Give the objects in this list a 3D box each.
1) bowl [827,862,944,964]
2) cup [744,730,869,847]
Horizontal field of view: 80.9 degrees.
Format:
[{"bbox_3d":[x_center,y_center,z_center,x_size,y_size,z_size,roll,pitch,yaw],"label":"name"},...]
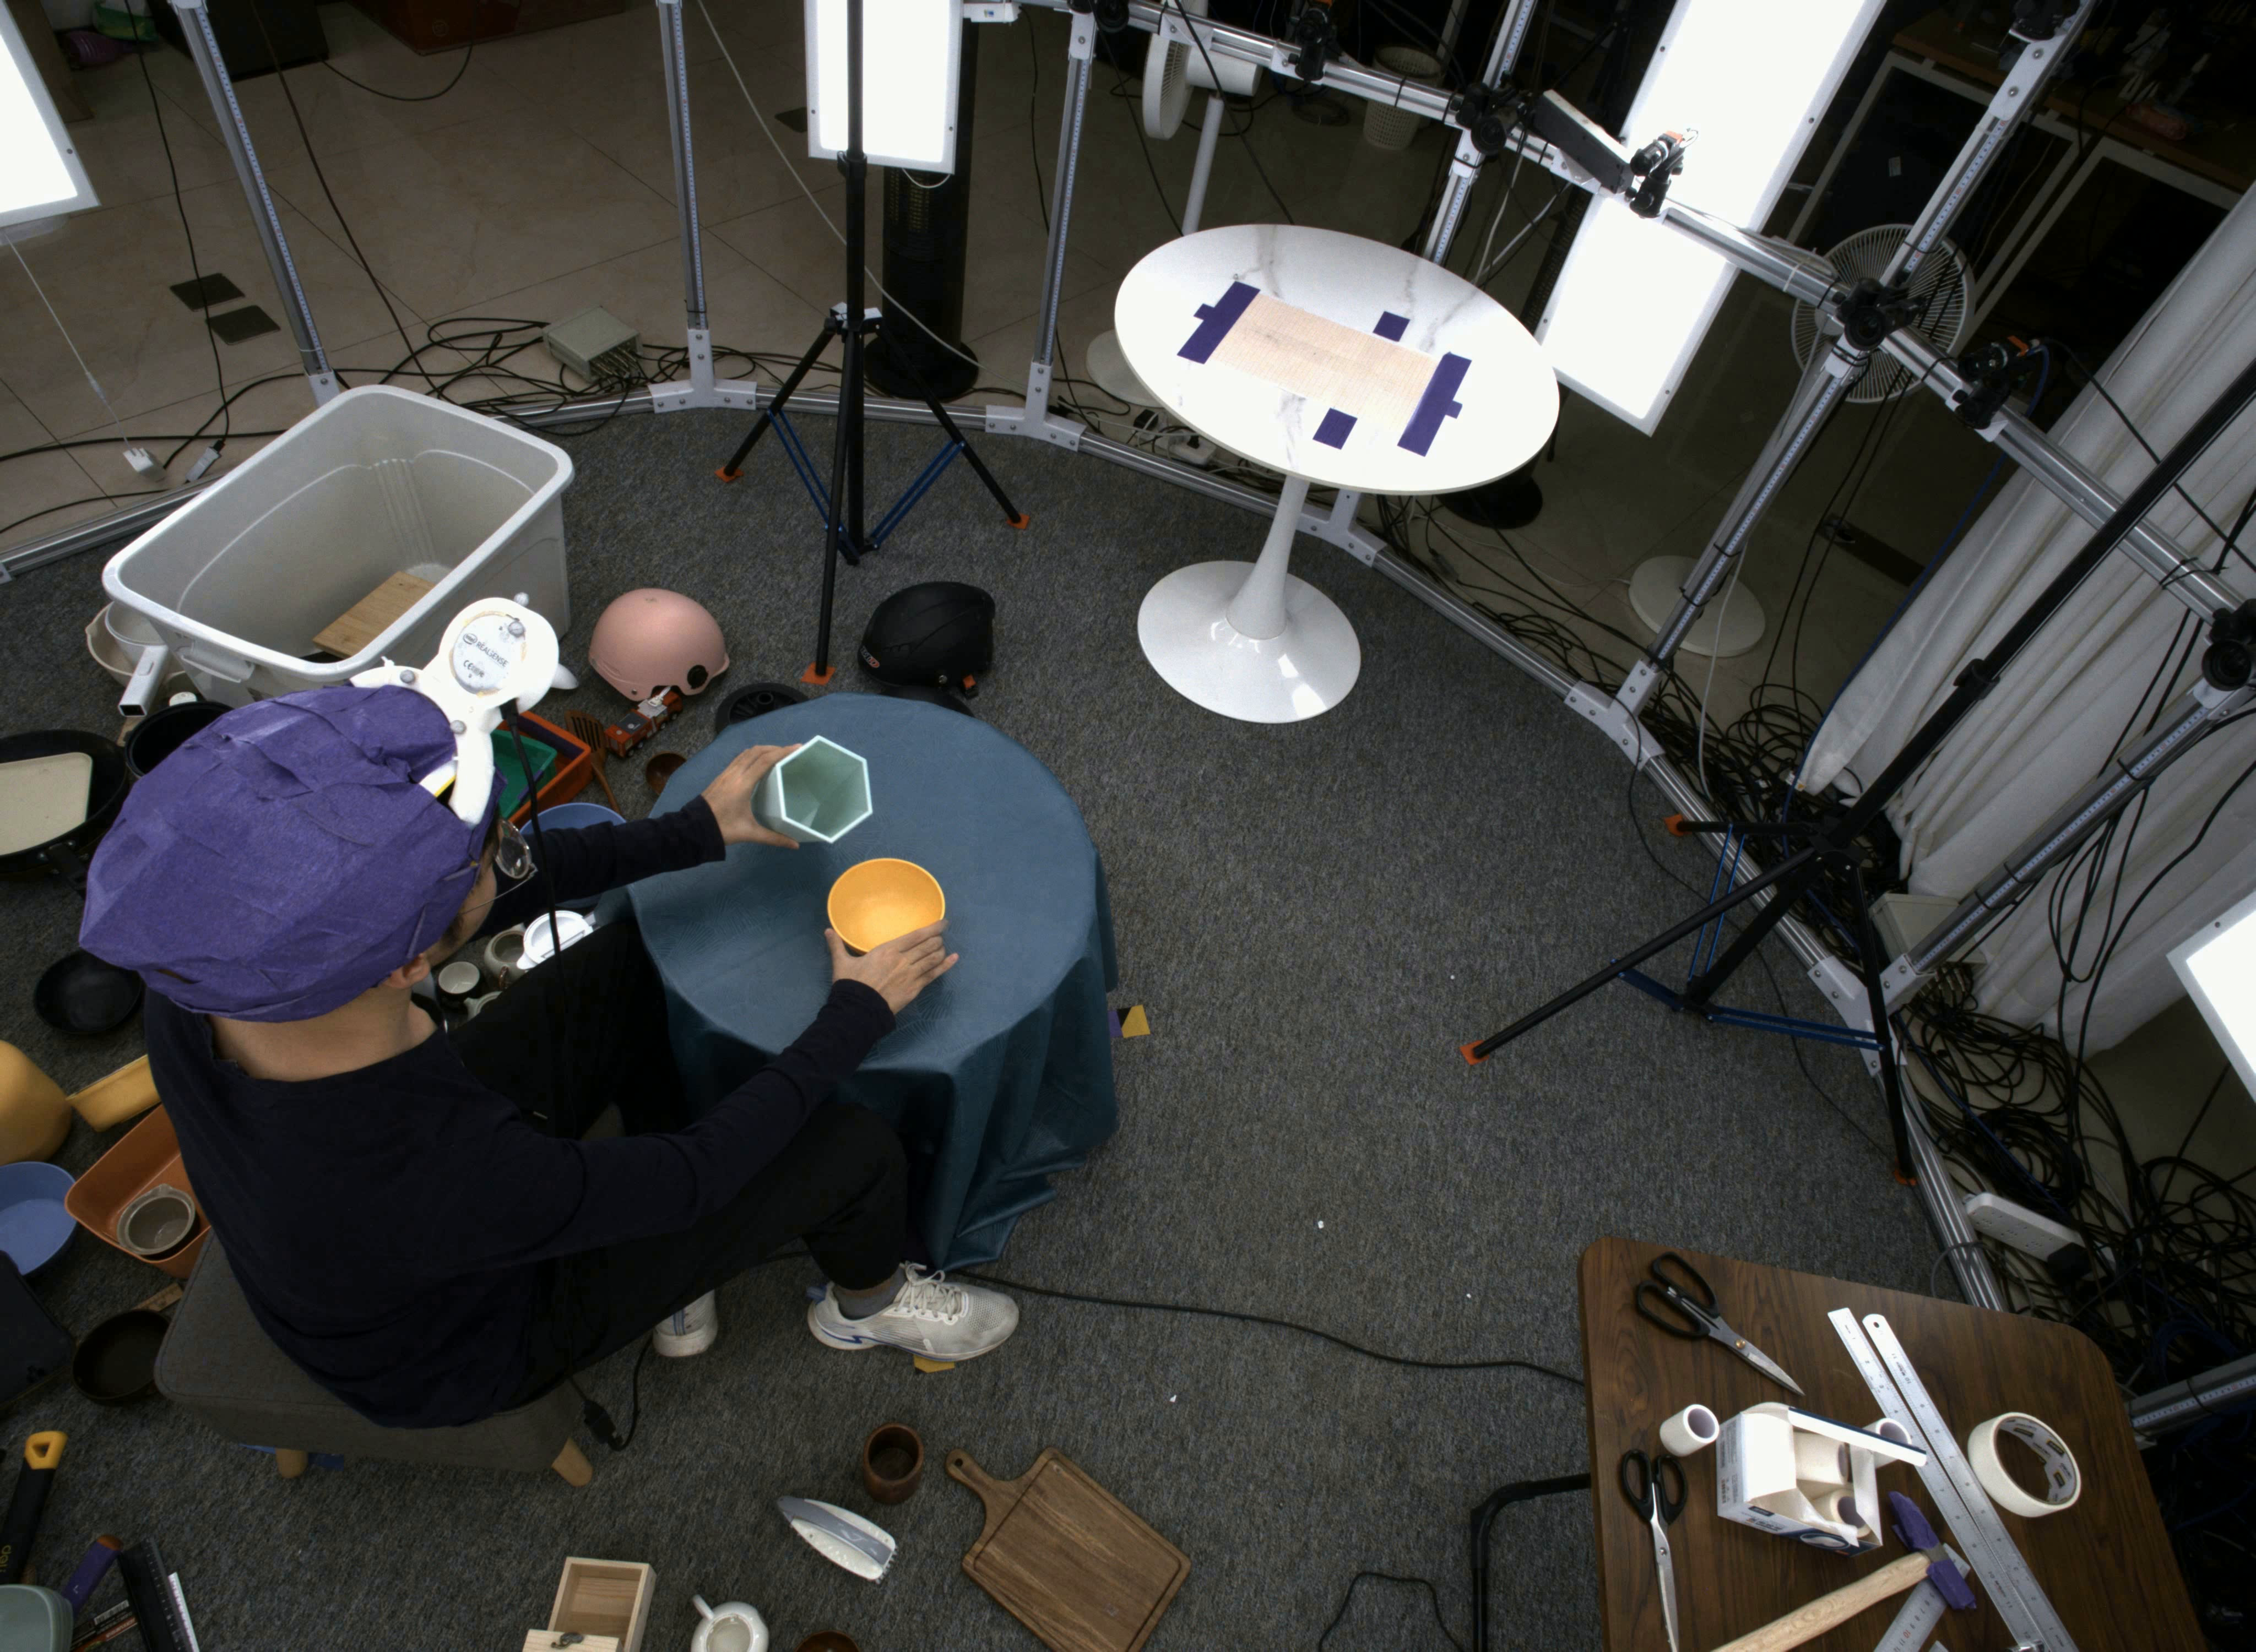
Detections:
[{"bbox_3d":[-0.303,0.118,1.634,0.144,0.061,0.143,6,54,-6],"label":"bowl"},{"bbox_3d":[-0.406,-0.037,1.612,0.116,0.159,0.132,-9,86,-32],"label":"cup"}]
